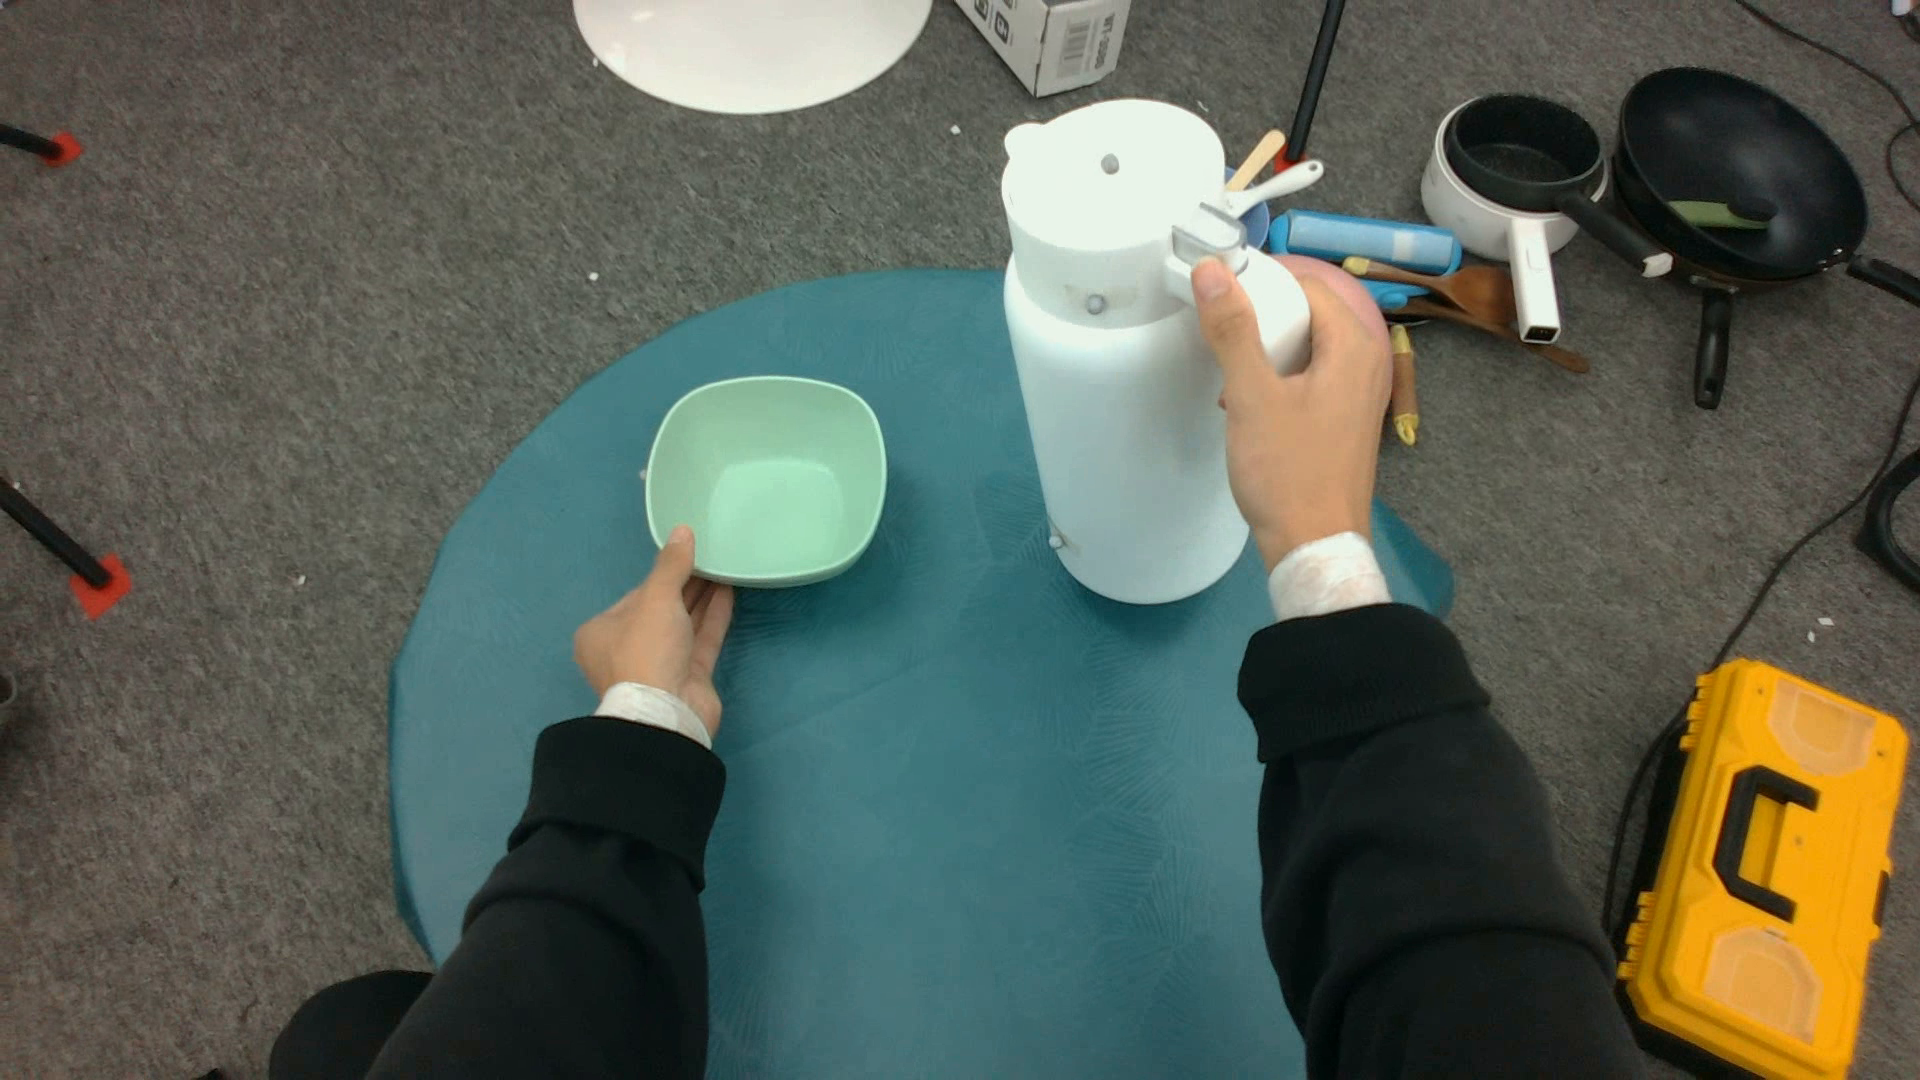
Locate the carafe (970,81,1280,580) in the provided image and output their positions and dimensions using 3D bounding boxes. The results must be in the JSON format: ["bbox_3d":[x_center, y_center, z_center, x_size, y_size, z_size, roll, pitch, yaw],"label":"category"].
[{"bbox_3d":[0.088,-0.089,0.705,0.124,0.268,0.173,-40,57,-19],"label":"carafe"}]

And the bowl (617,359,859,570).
[{"bbox_3d":[-0.129,-0.036,0.820,0.151,0.058,0.152,1,61,-1],"label":"bowl"}]
